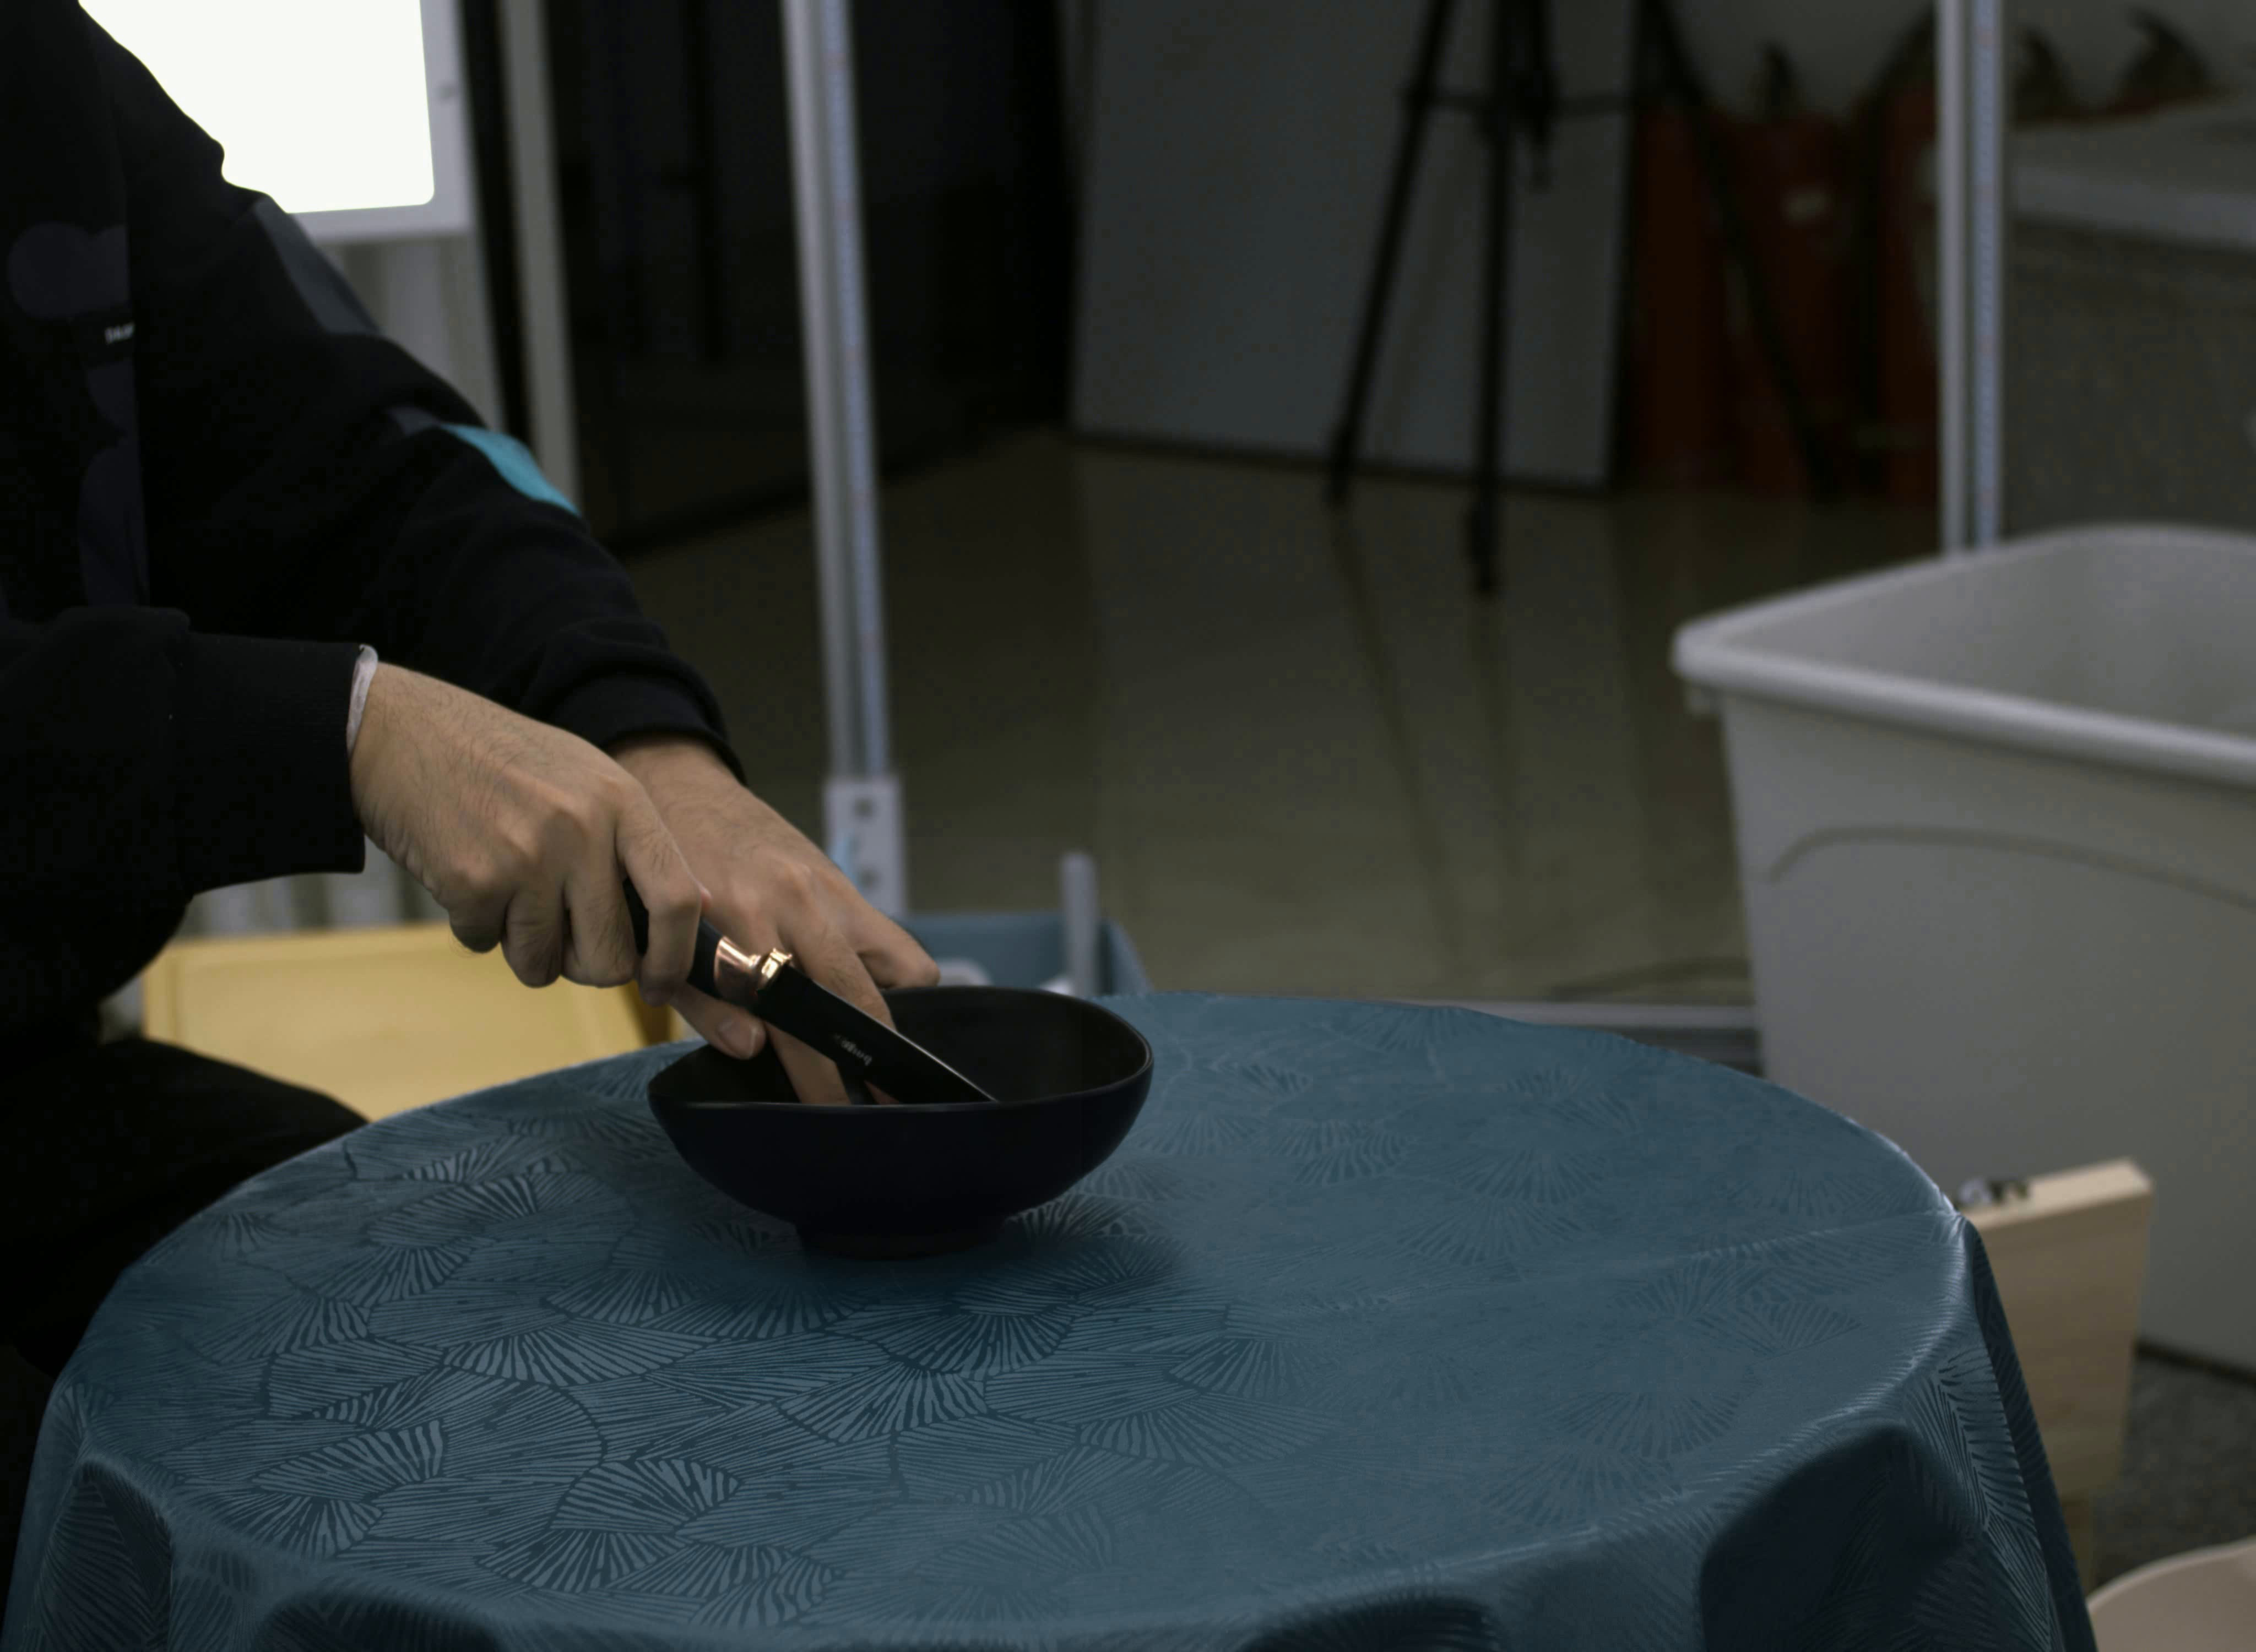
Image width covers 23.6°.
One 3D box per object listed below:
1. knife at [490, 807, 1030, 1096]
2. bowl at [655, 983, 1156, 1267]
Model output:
[{"bbox_3d":[-0.111,0.052,1.756,0.225,0.026,0.017,29,25,13],"label":"knife"},{"bbox_3d":[-0.071,0.101,1.738,0.170,0.067,0.136,-2,14,18],"label":"bowl"}]
